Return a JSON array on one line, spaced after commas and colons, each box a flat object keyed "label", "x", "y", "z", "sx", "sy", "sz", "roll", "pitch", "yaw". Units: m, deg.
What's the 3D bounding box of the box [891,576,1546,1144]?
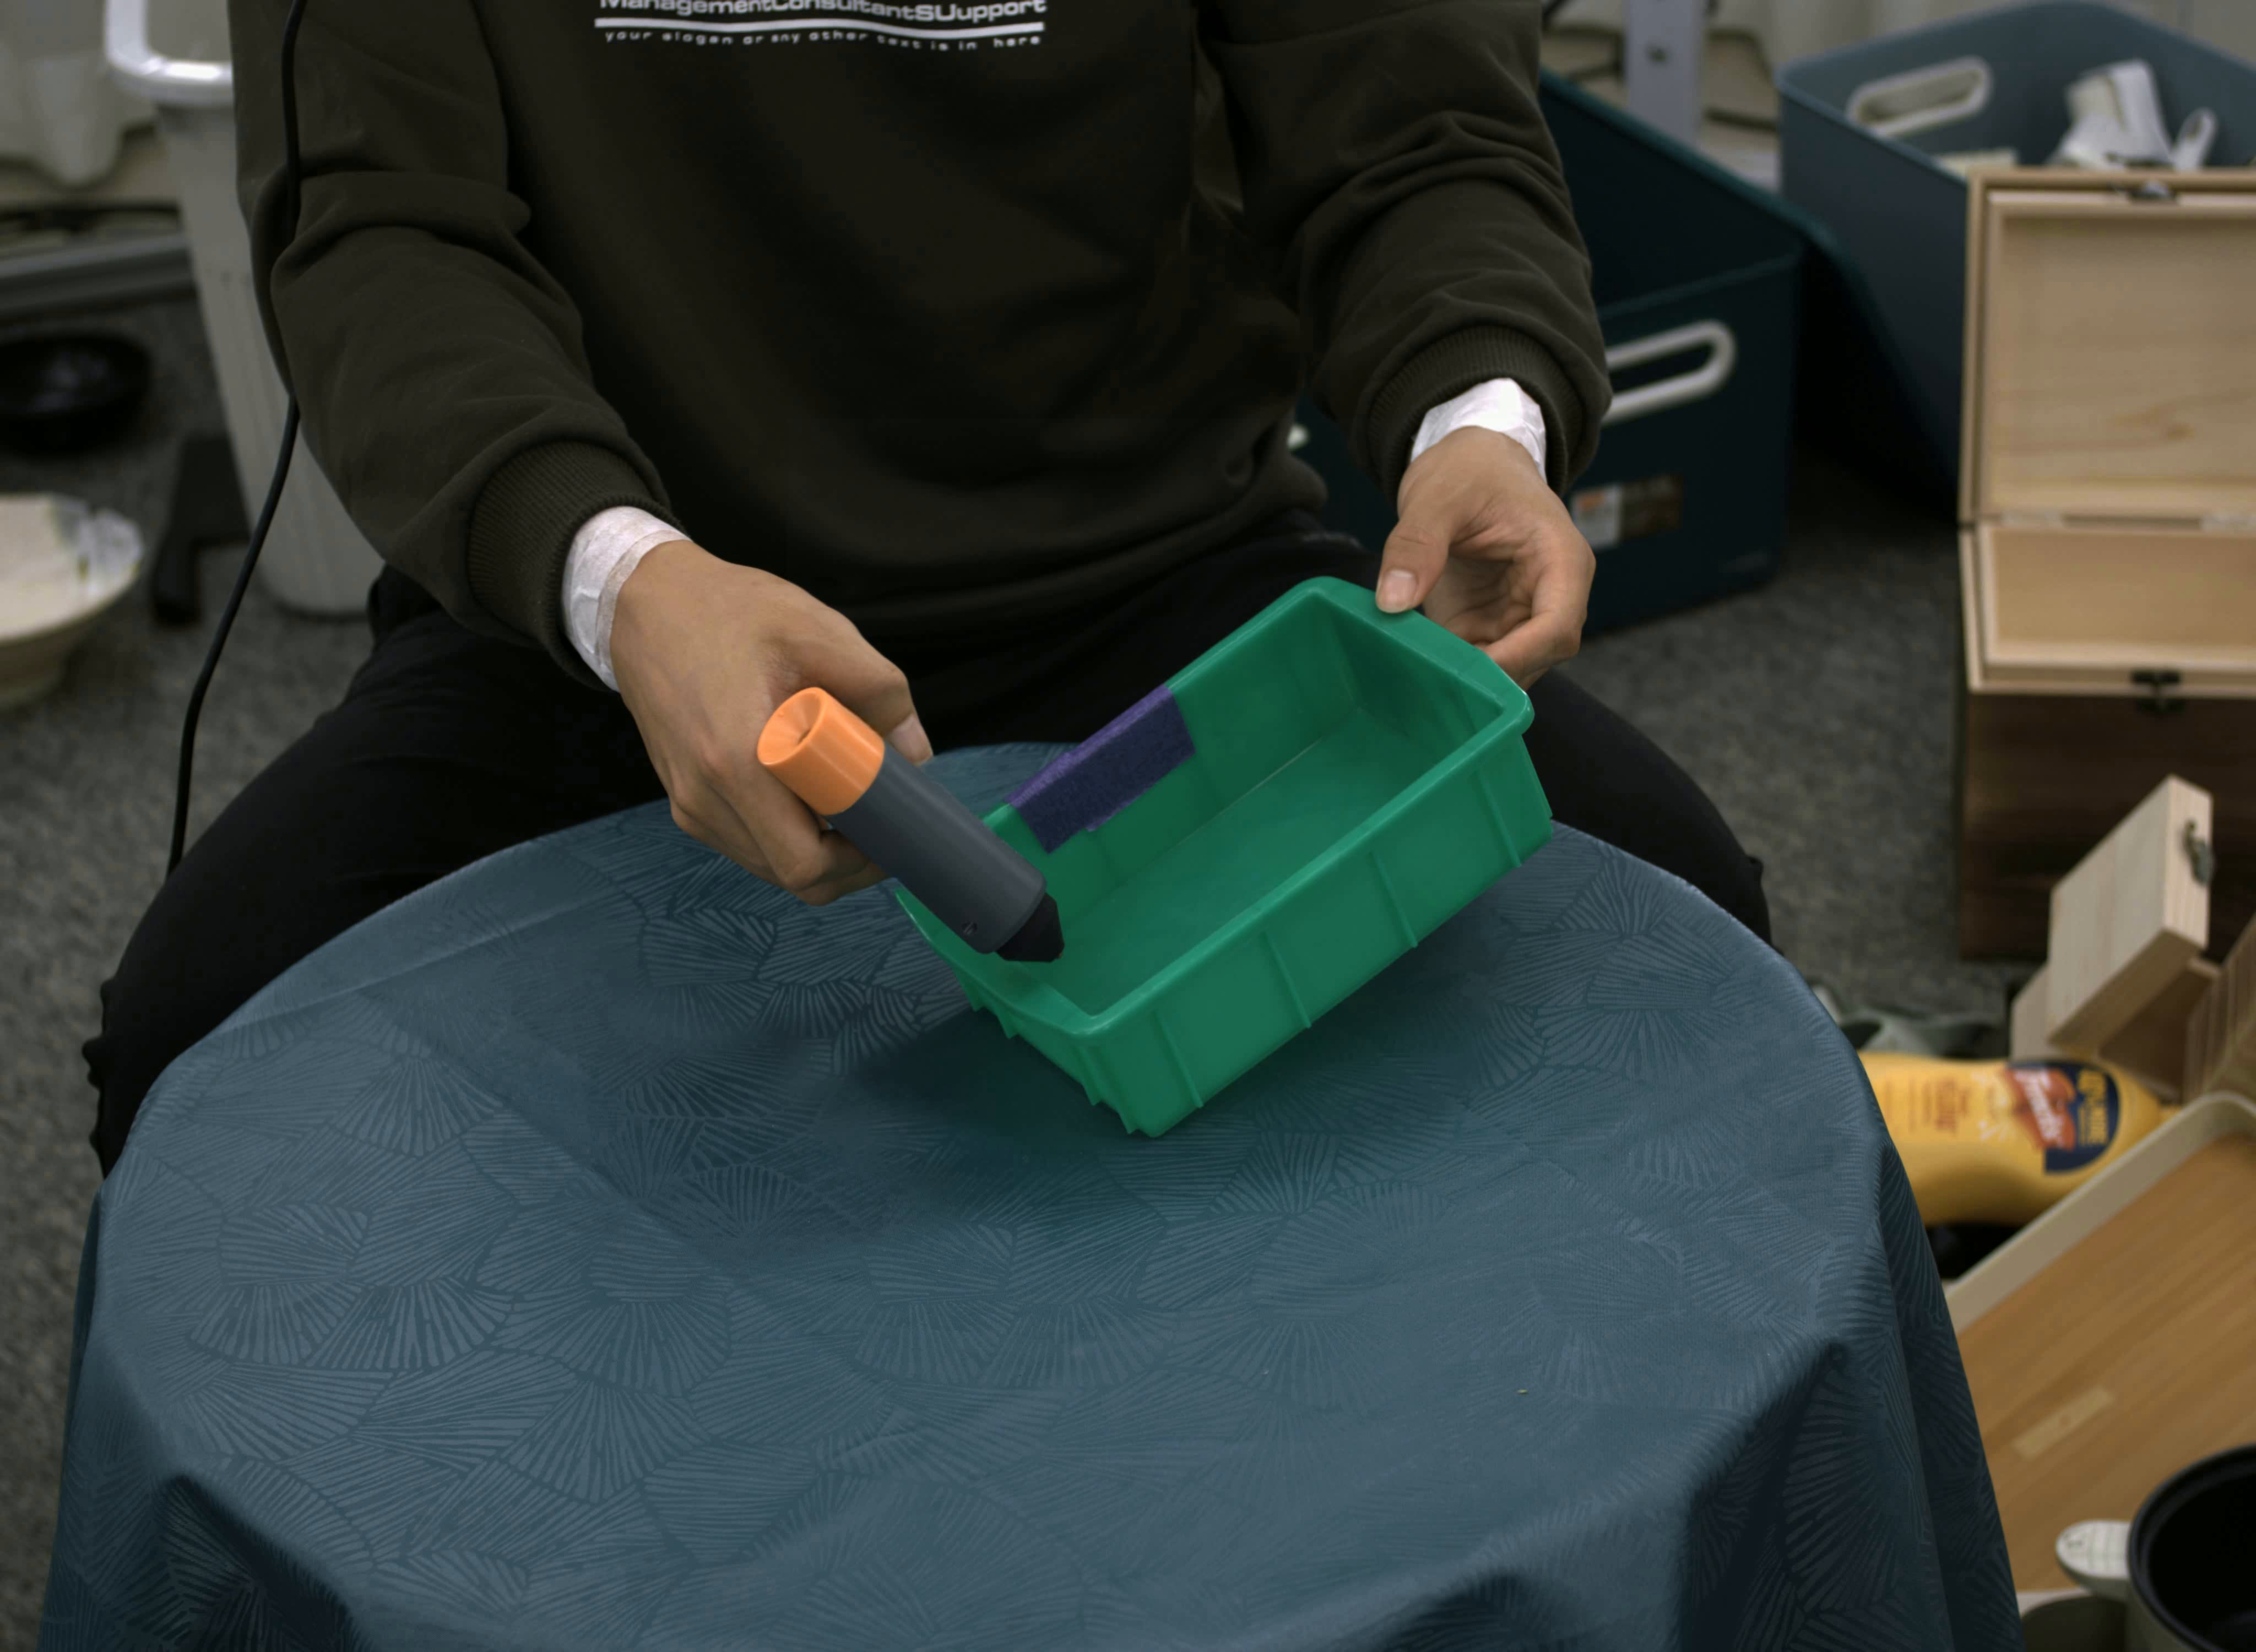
[{"label": "box", "x": 0.036, "y": 0.013, "z": 1.946, "sx": 0.212, "sy": 0.064, "sz": 0.139, "roll": -38, "pitch": 37, "yaw": -16}]

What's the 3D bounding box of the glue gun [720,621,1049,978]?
[{"label": "glue gun", "x": -0.083, "y": -0.010, "z": 1.907, "sx": 0.041, "sy": 0.117, "sz": 0.140, "roll": -42, "pitch": 31, "yaw": -2}]
